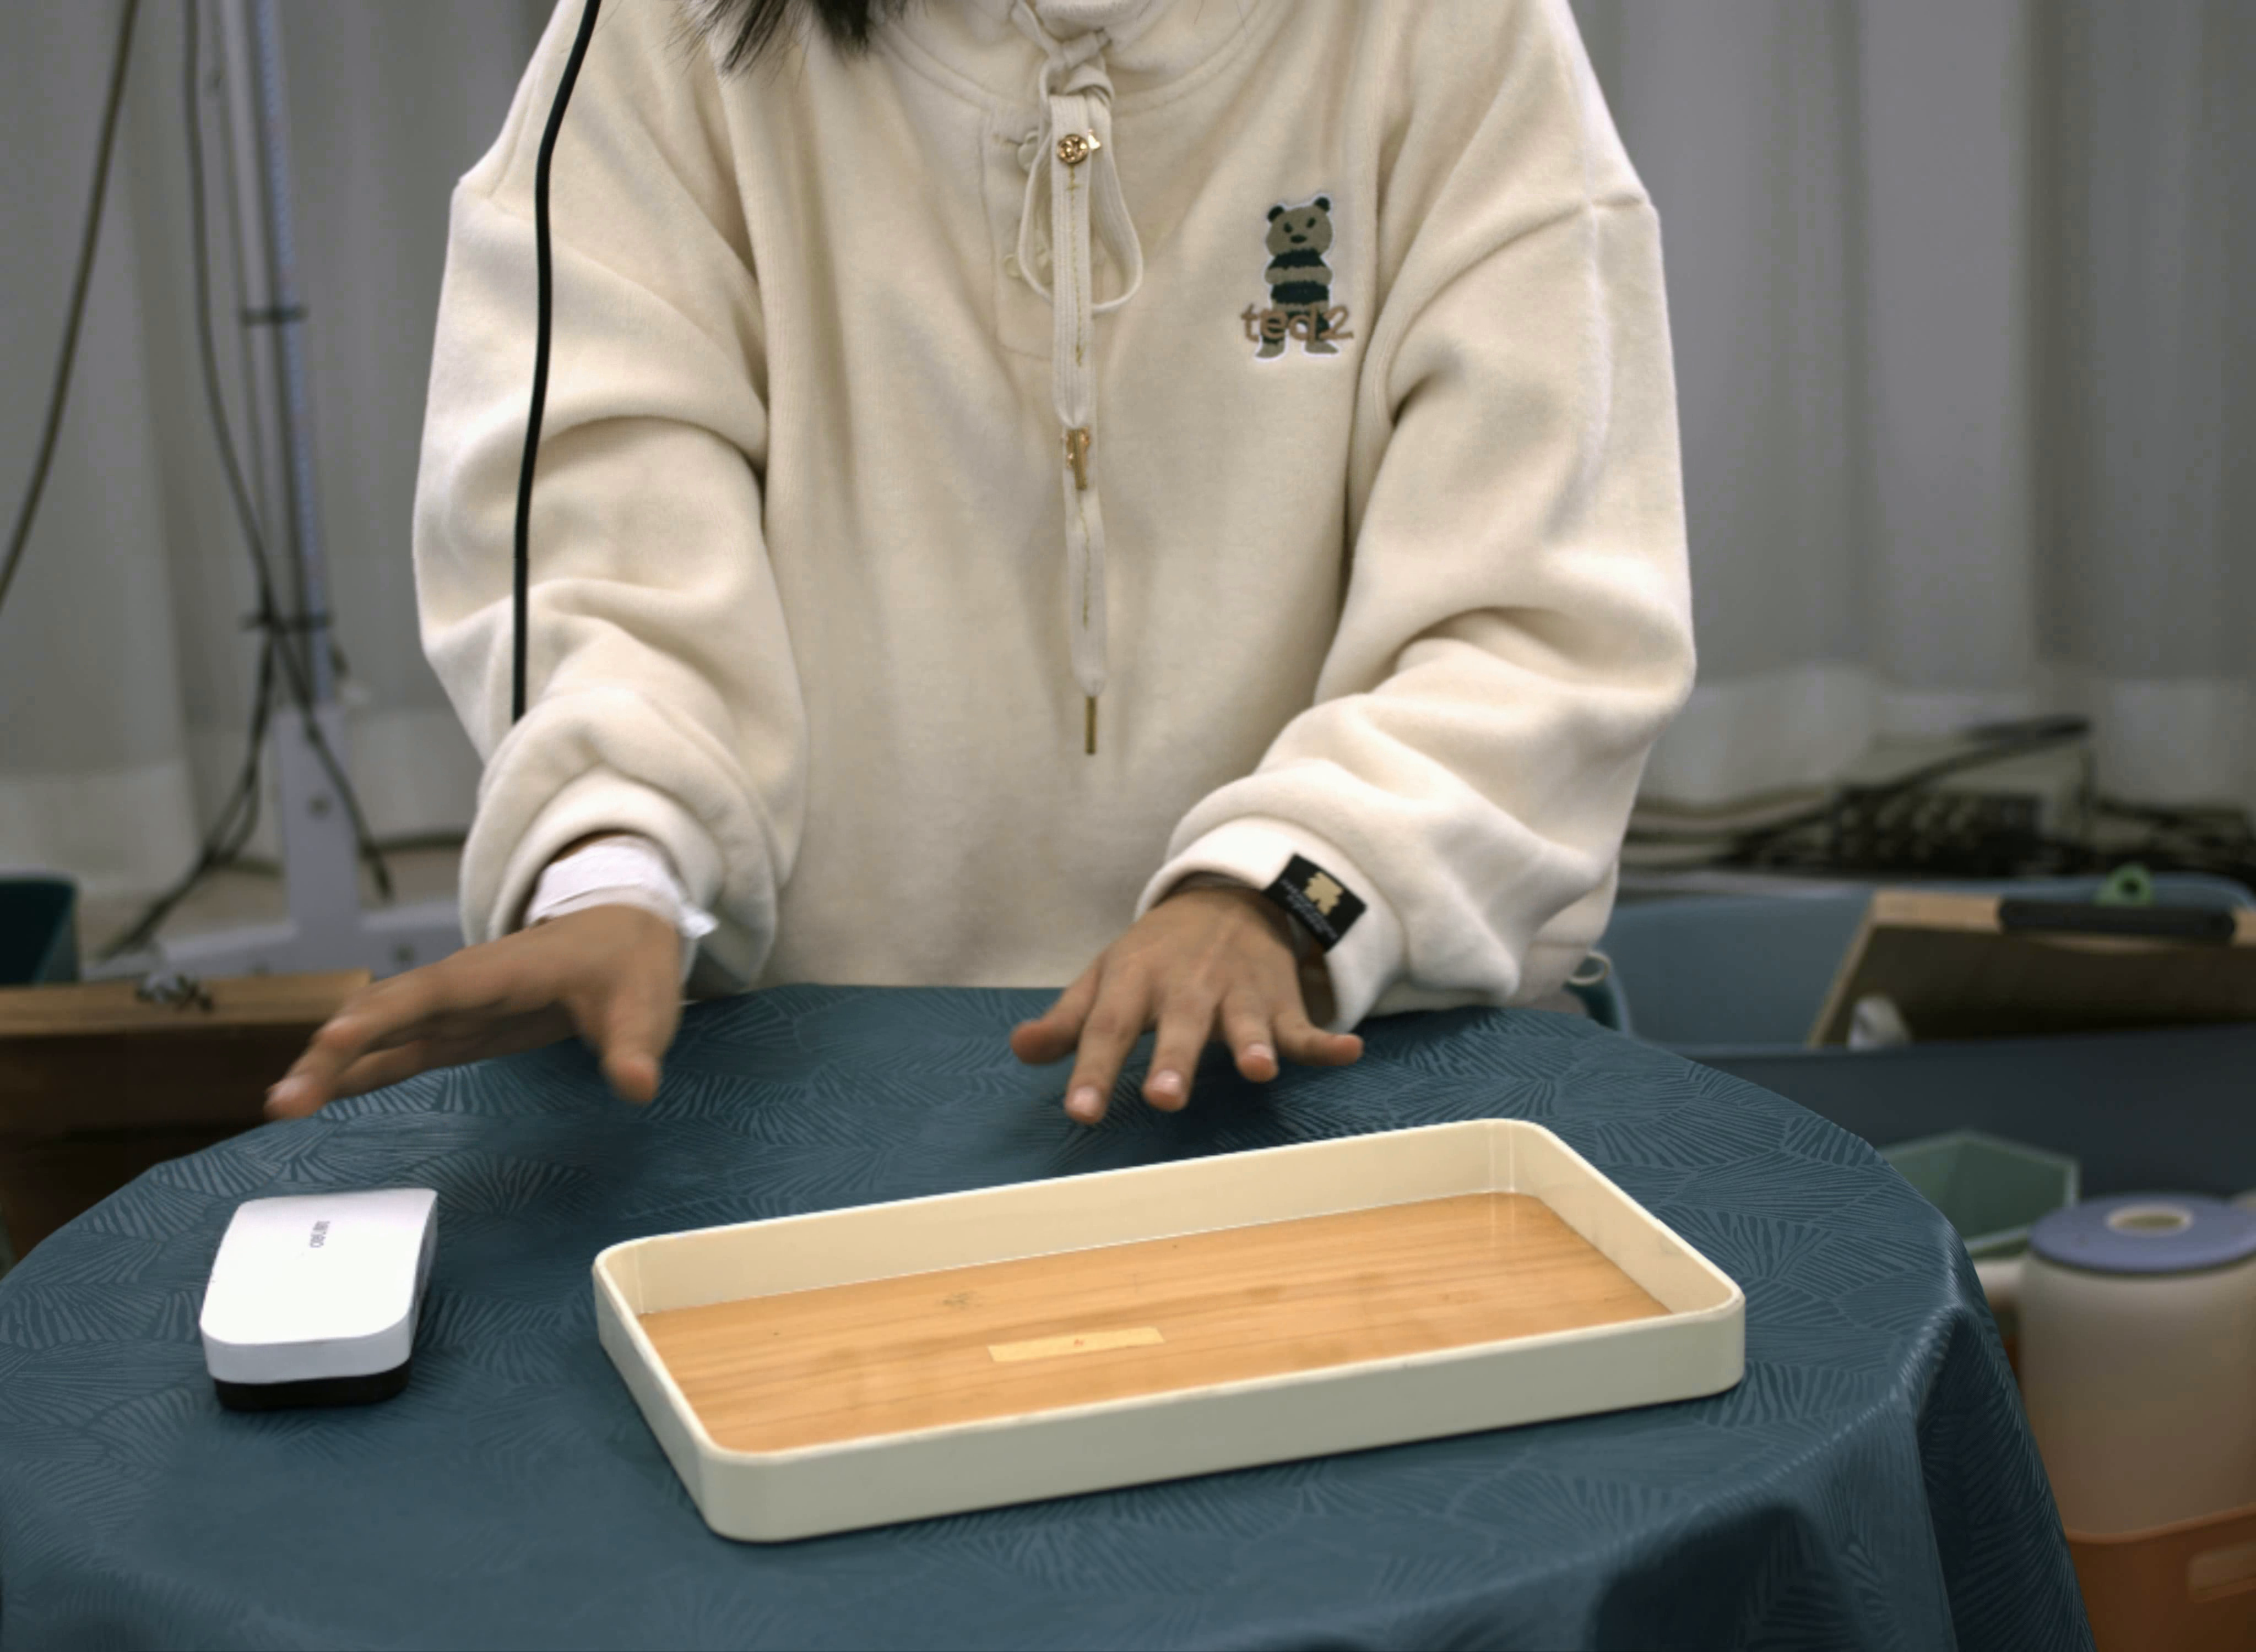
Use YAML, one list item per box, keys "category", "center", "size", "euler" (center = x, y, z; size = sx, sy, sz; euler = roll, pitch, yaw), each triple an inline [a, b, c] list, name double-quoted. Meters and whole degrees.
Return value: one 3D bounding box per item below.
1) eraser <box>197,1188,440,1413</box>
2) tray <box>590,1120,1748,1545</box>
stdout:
- category: "eraser"
  center: [-0.236, 0.136, 1.620]
  size: [0.063, 0.034, 0.132]
  euler: [-4, 15, 0]
- category: "tray"
  center: [0.008, 0.141, 1.561]
  size: [0.299, 0.027, 0.193]
  euler: [-7, 16, -14]
